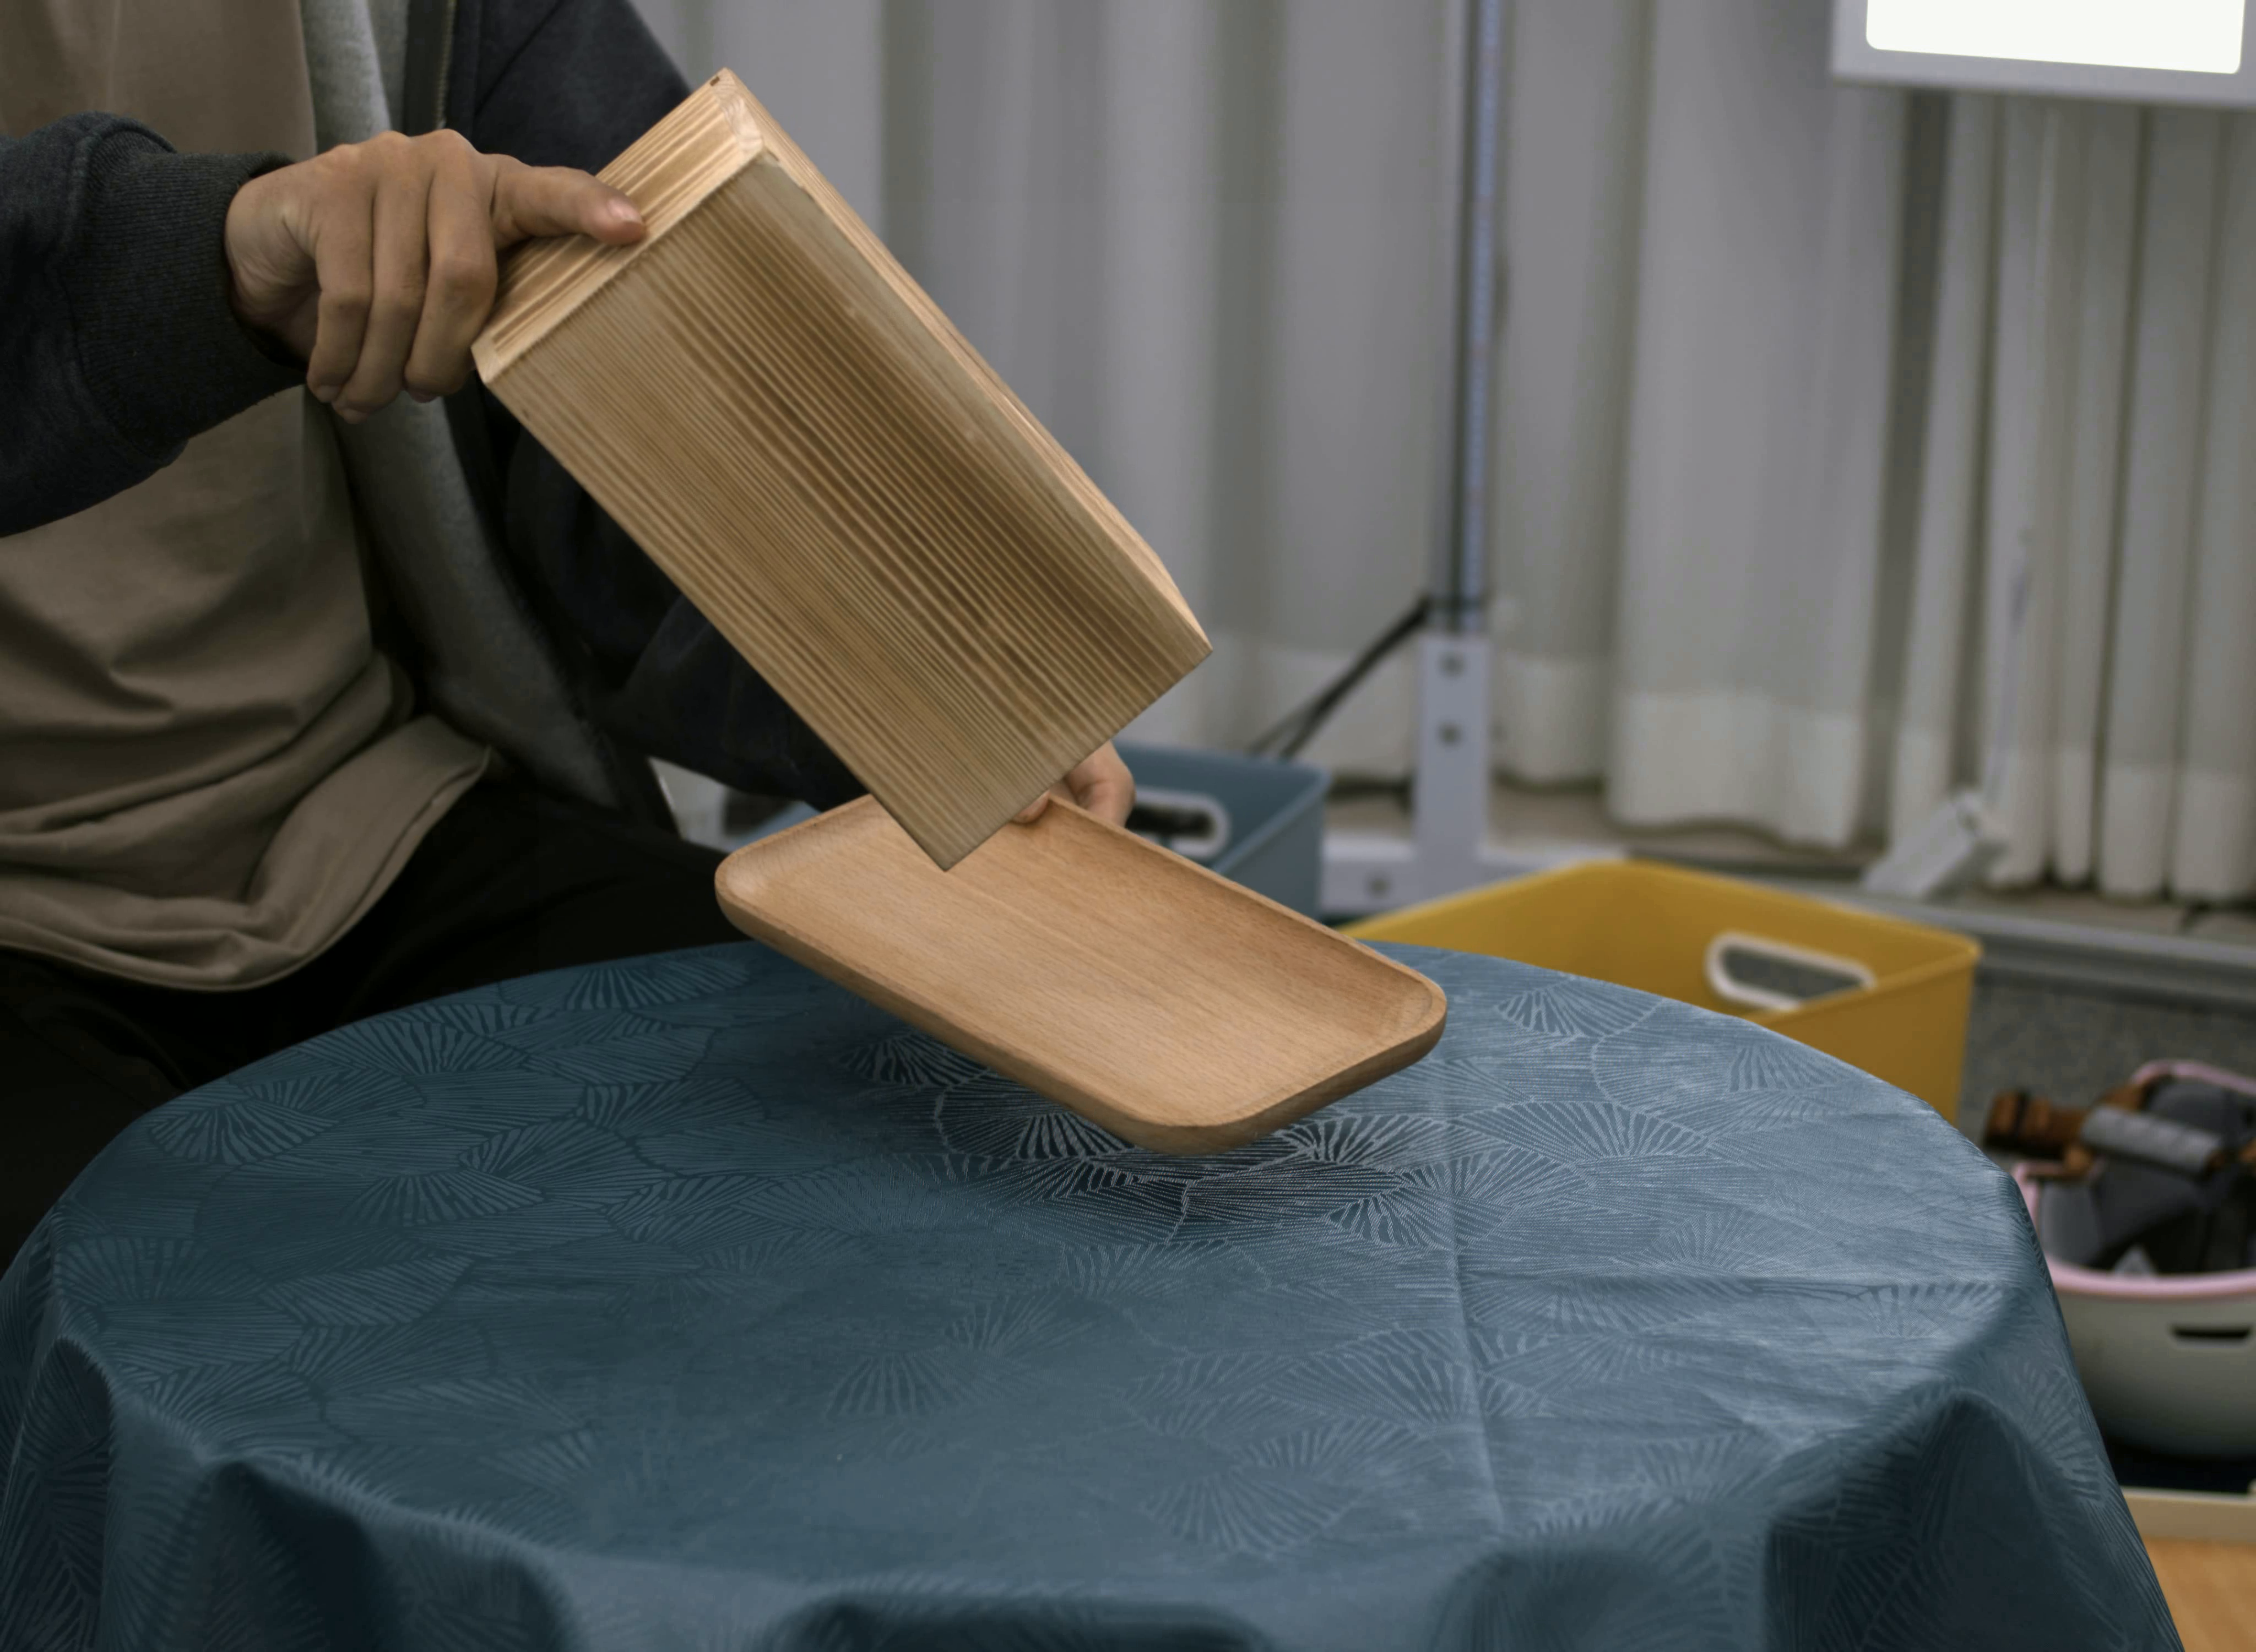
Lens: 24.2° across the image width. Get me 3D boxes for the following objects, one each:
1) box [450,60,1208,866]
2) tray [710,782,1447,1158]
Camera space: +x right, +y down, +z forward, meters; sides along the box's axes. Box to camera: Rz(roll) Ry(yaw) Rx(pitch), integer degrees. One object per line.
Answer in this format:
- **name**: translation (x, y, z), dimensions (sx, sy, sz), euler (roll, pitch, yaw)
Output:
- **box**: translation (-0.087, -0.105, 1.545), dimensions (0.107, 0.214, 0.079), euler (-39, 27, 7)
- **tray**: translation (-0.019, 0.041, 1.690), dimensions (0.131, 0.023, 0.247), euler (-20, 32, -37)
